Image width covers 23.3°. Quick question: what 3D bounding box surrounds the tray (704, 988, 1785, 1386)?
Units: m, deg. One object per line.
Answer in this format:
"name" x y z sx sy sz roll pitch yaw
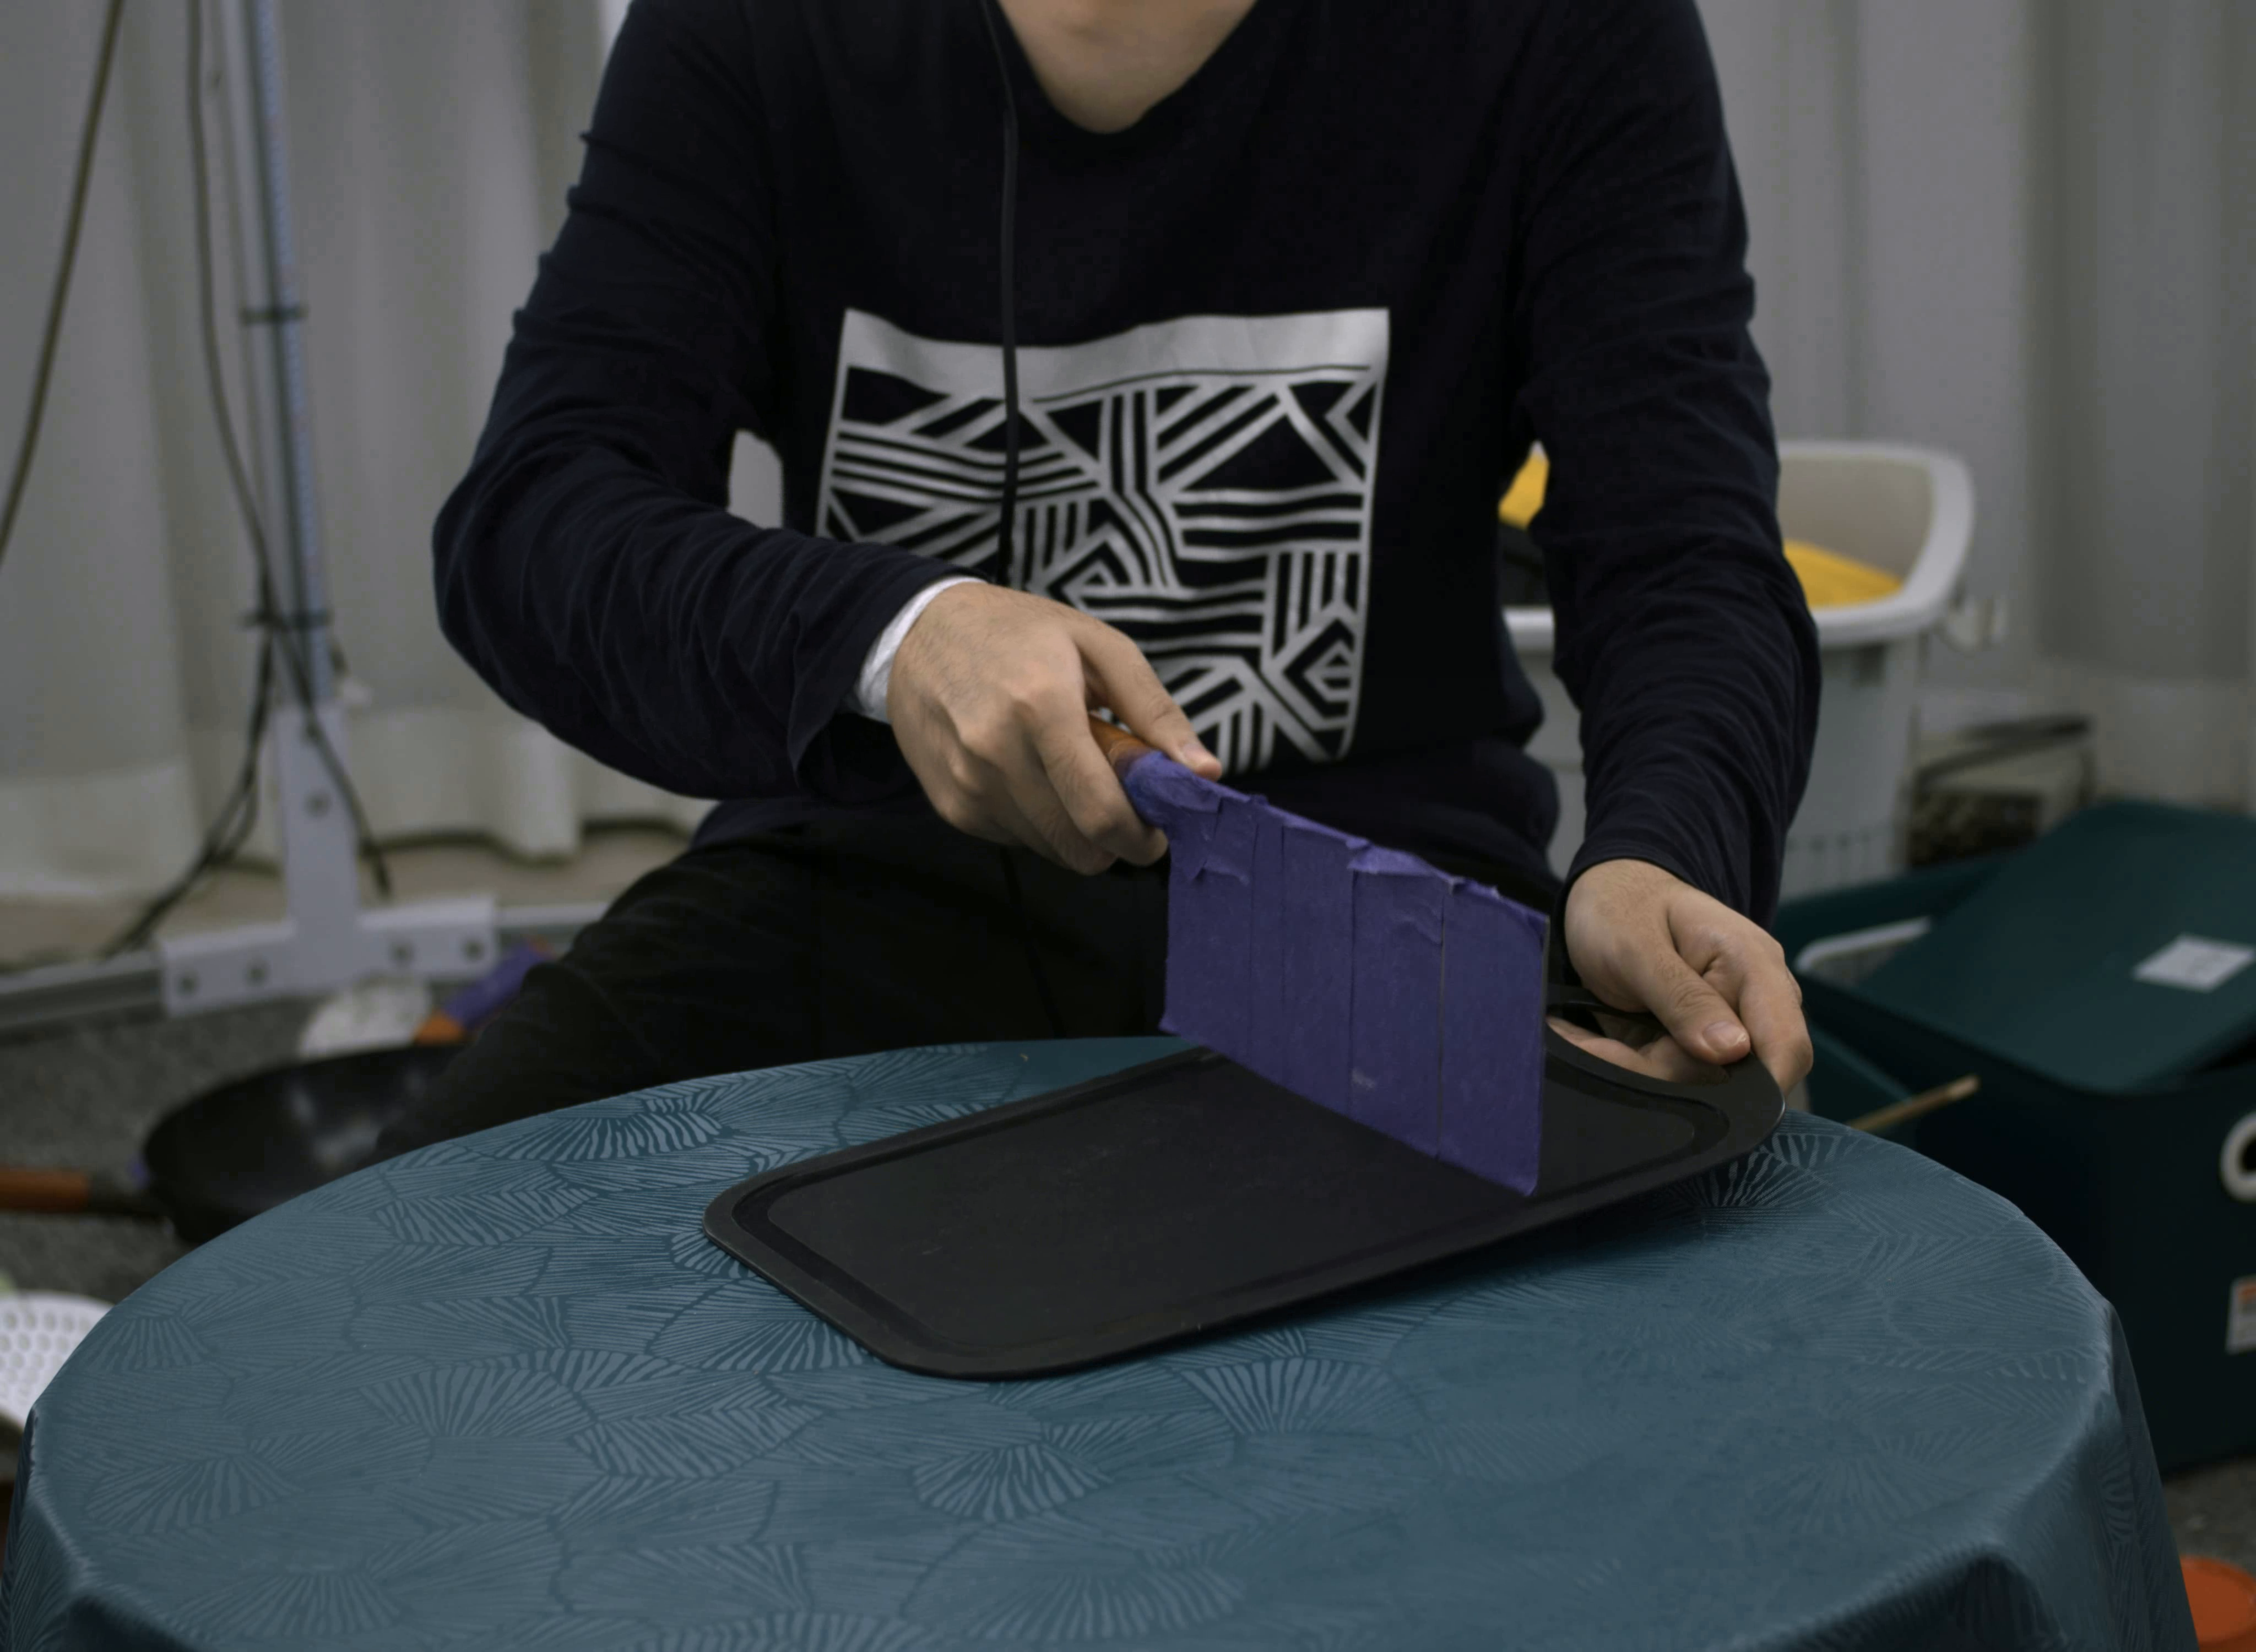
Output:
"tray" 0.041 0.104 1.700 0.324 0.010 0.213 -14 19 -24

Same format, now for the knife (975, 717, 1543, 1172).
"knife" 0.037 0.037 1.755 0.032 0.103 0.317 -3 13 -30
